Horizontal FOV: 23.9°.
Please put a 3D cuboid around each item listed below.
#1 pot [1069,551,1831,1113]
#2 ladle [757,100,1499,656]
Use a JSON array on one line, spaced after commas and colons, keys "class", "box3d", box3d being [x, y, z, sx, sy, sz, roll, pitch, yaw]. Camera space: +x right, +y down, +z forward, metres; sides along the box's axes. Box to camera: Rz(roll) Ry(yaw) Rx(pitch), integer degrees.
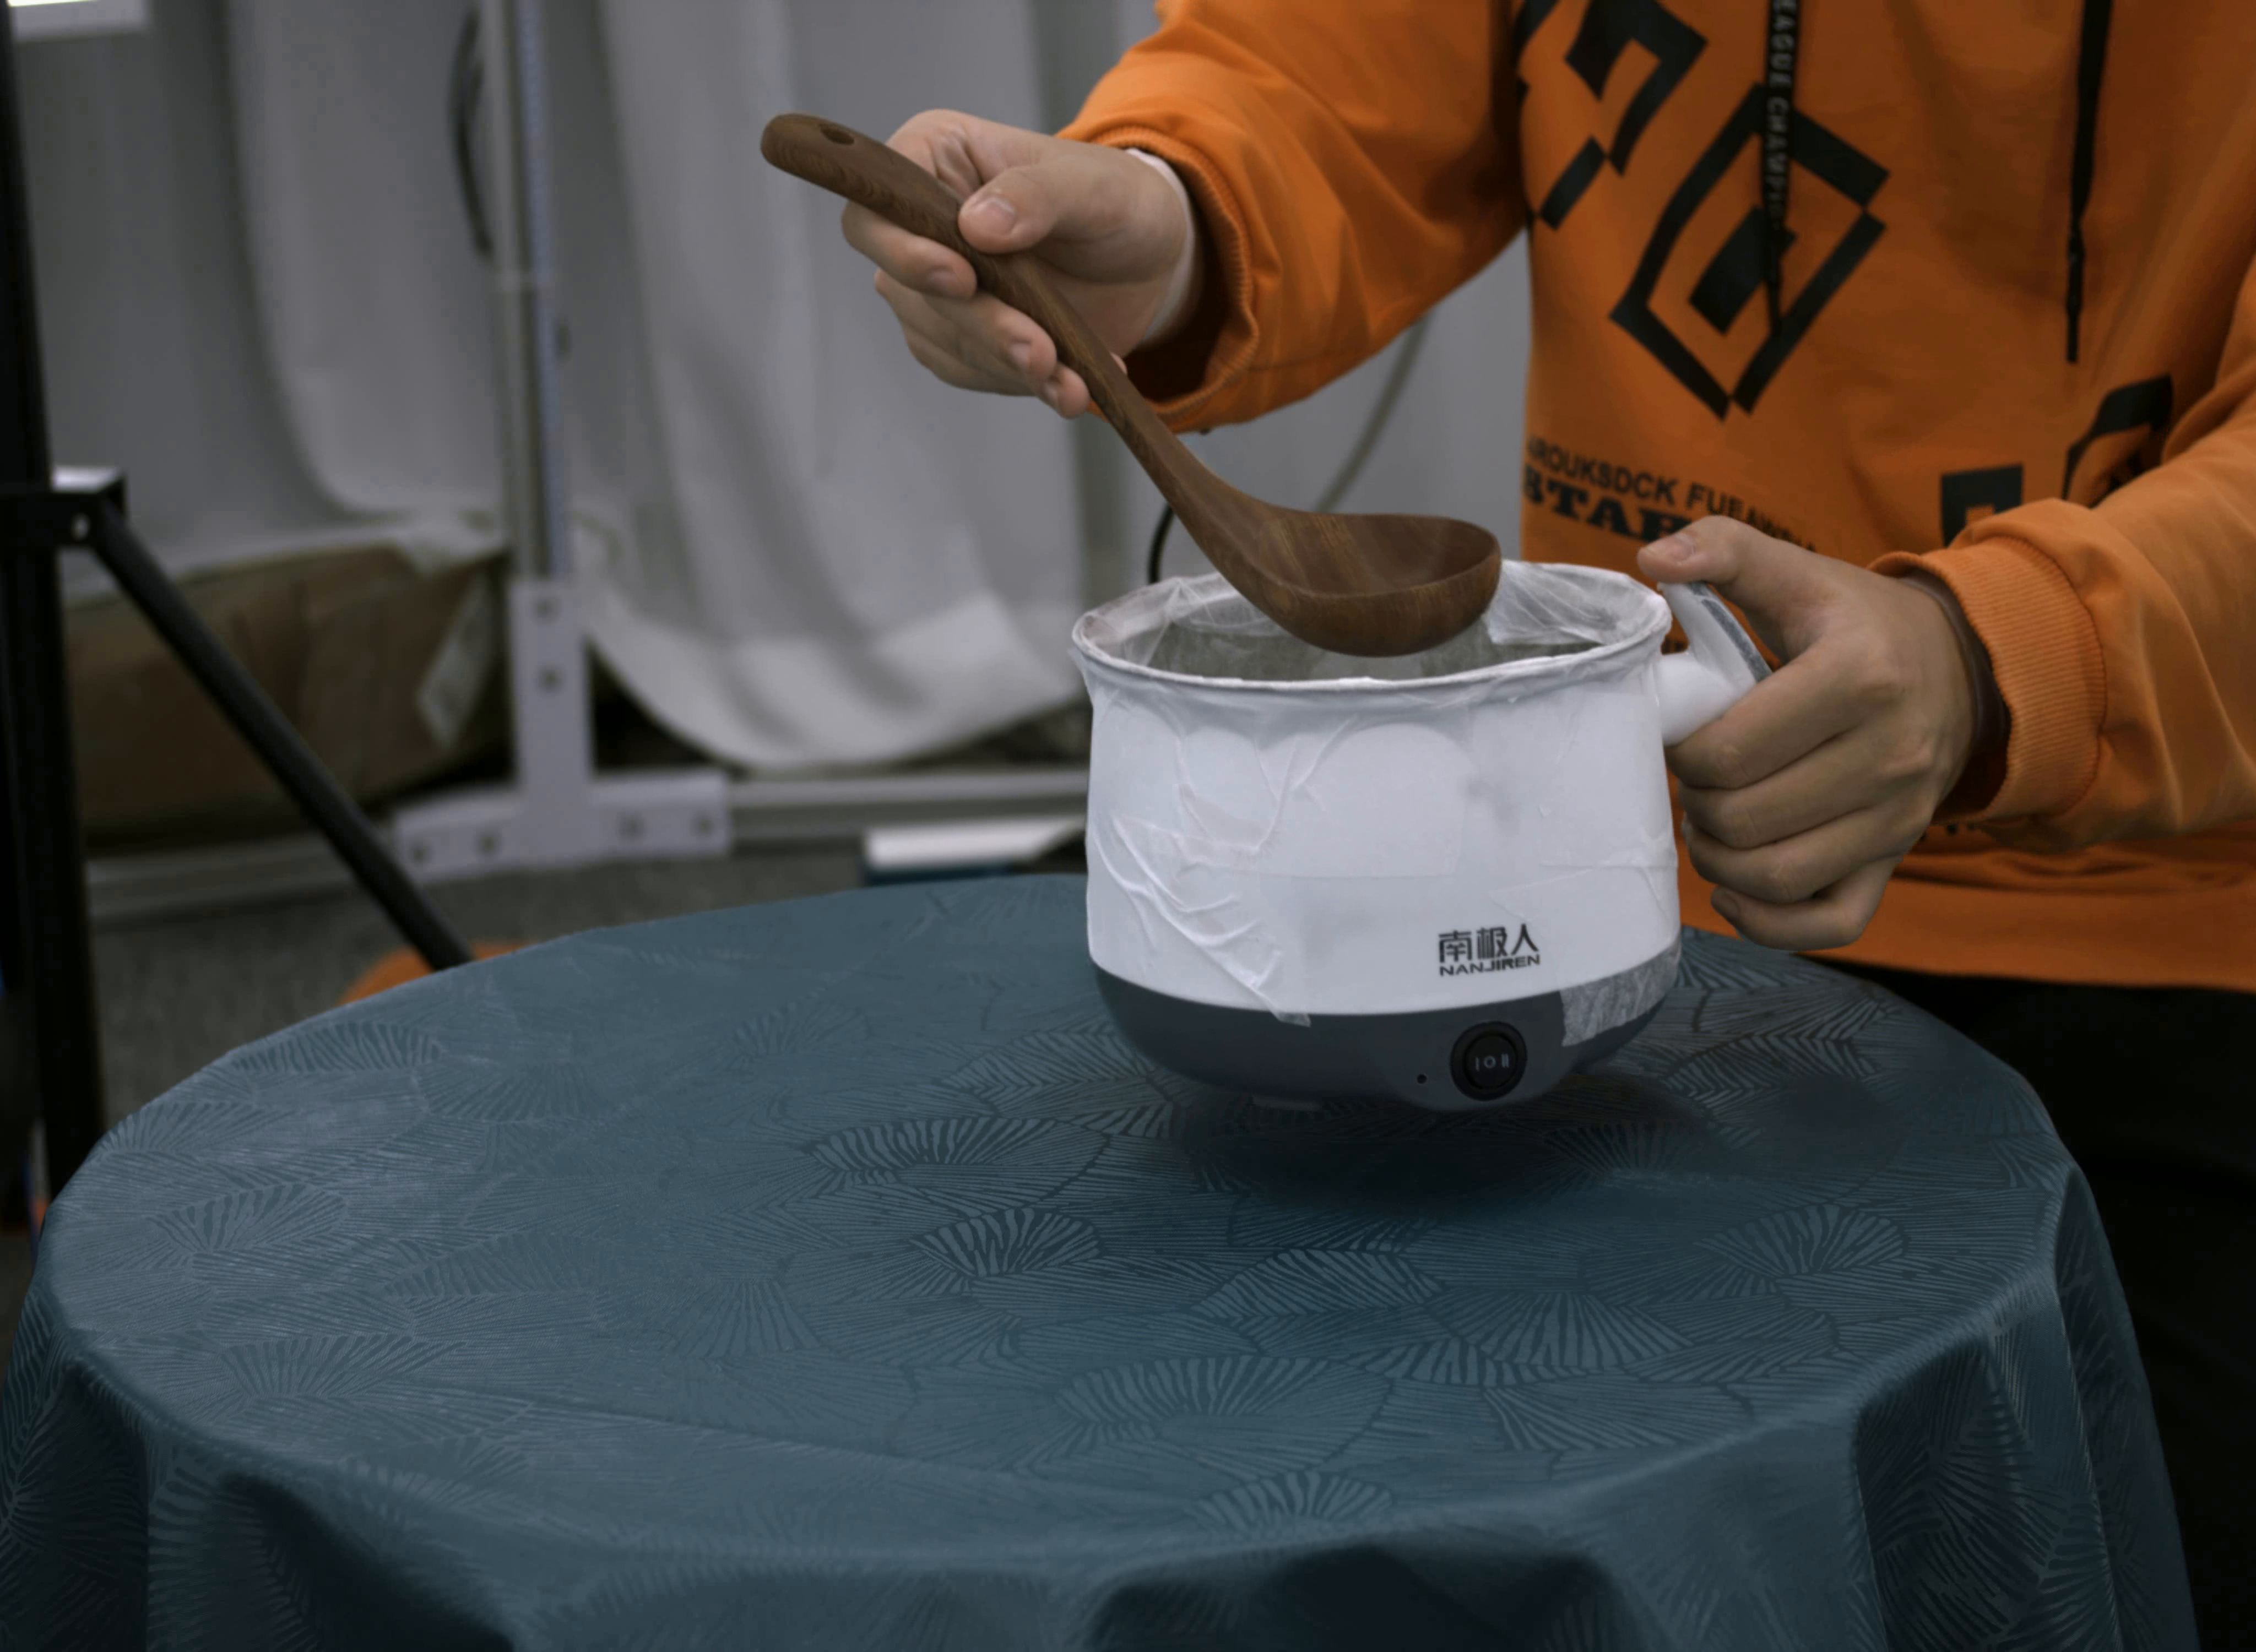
[{"class": "pot", "box3d": [0.100, -0.004, 1.588, 0.230, 0.136, 0.181, -7, 15, -17]}, {"class": "ladle", "box3d": [0.001, -0.141, 1.575, 0.261, 0.065, 0.075, 44, 26, 5]}]
